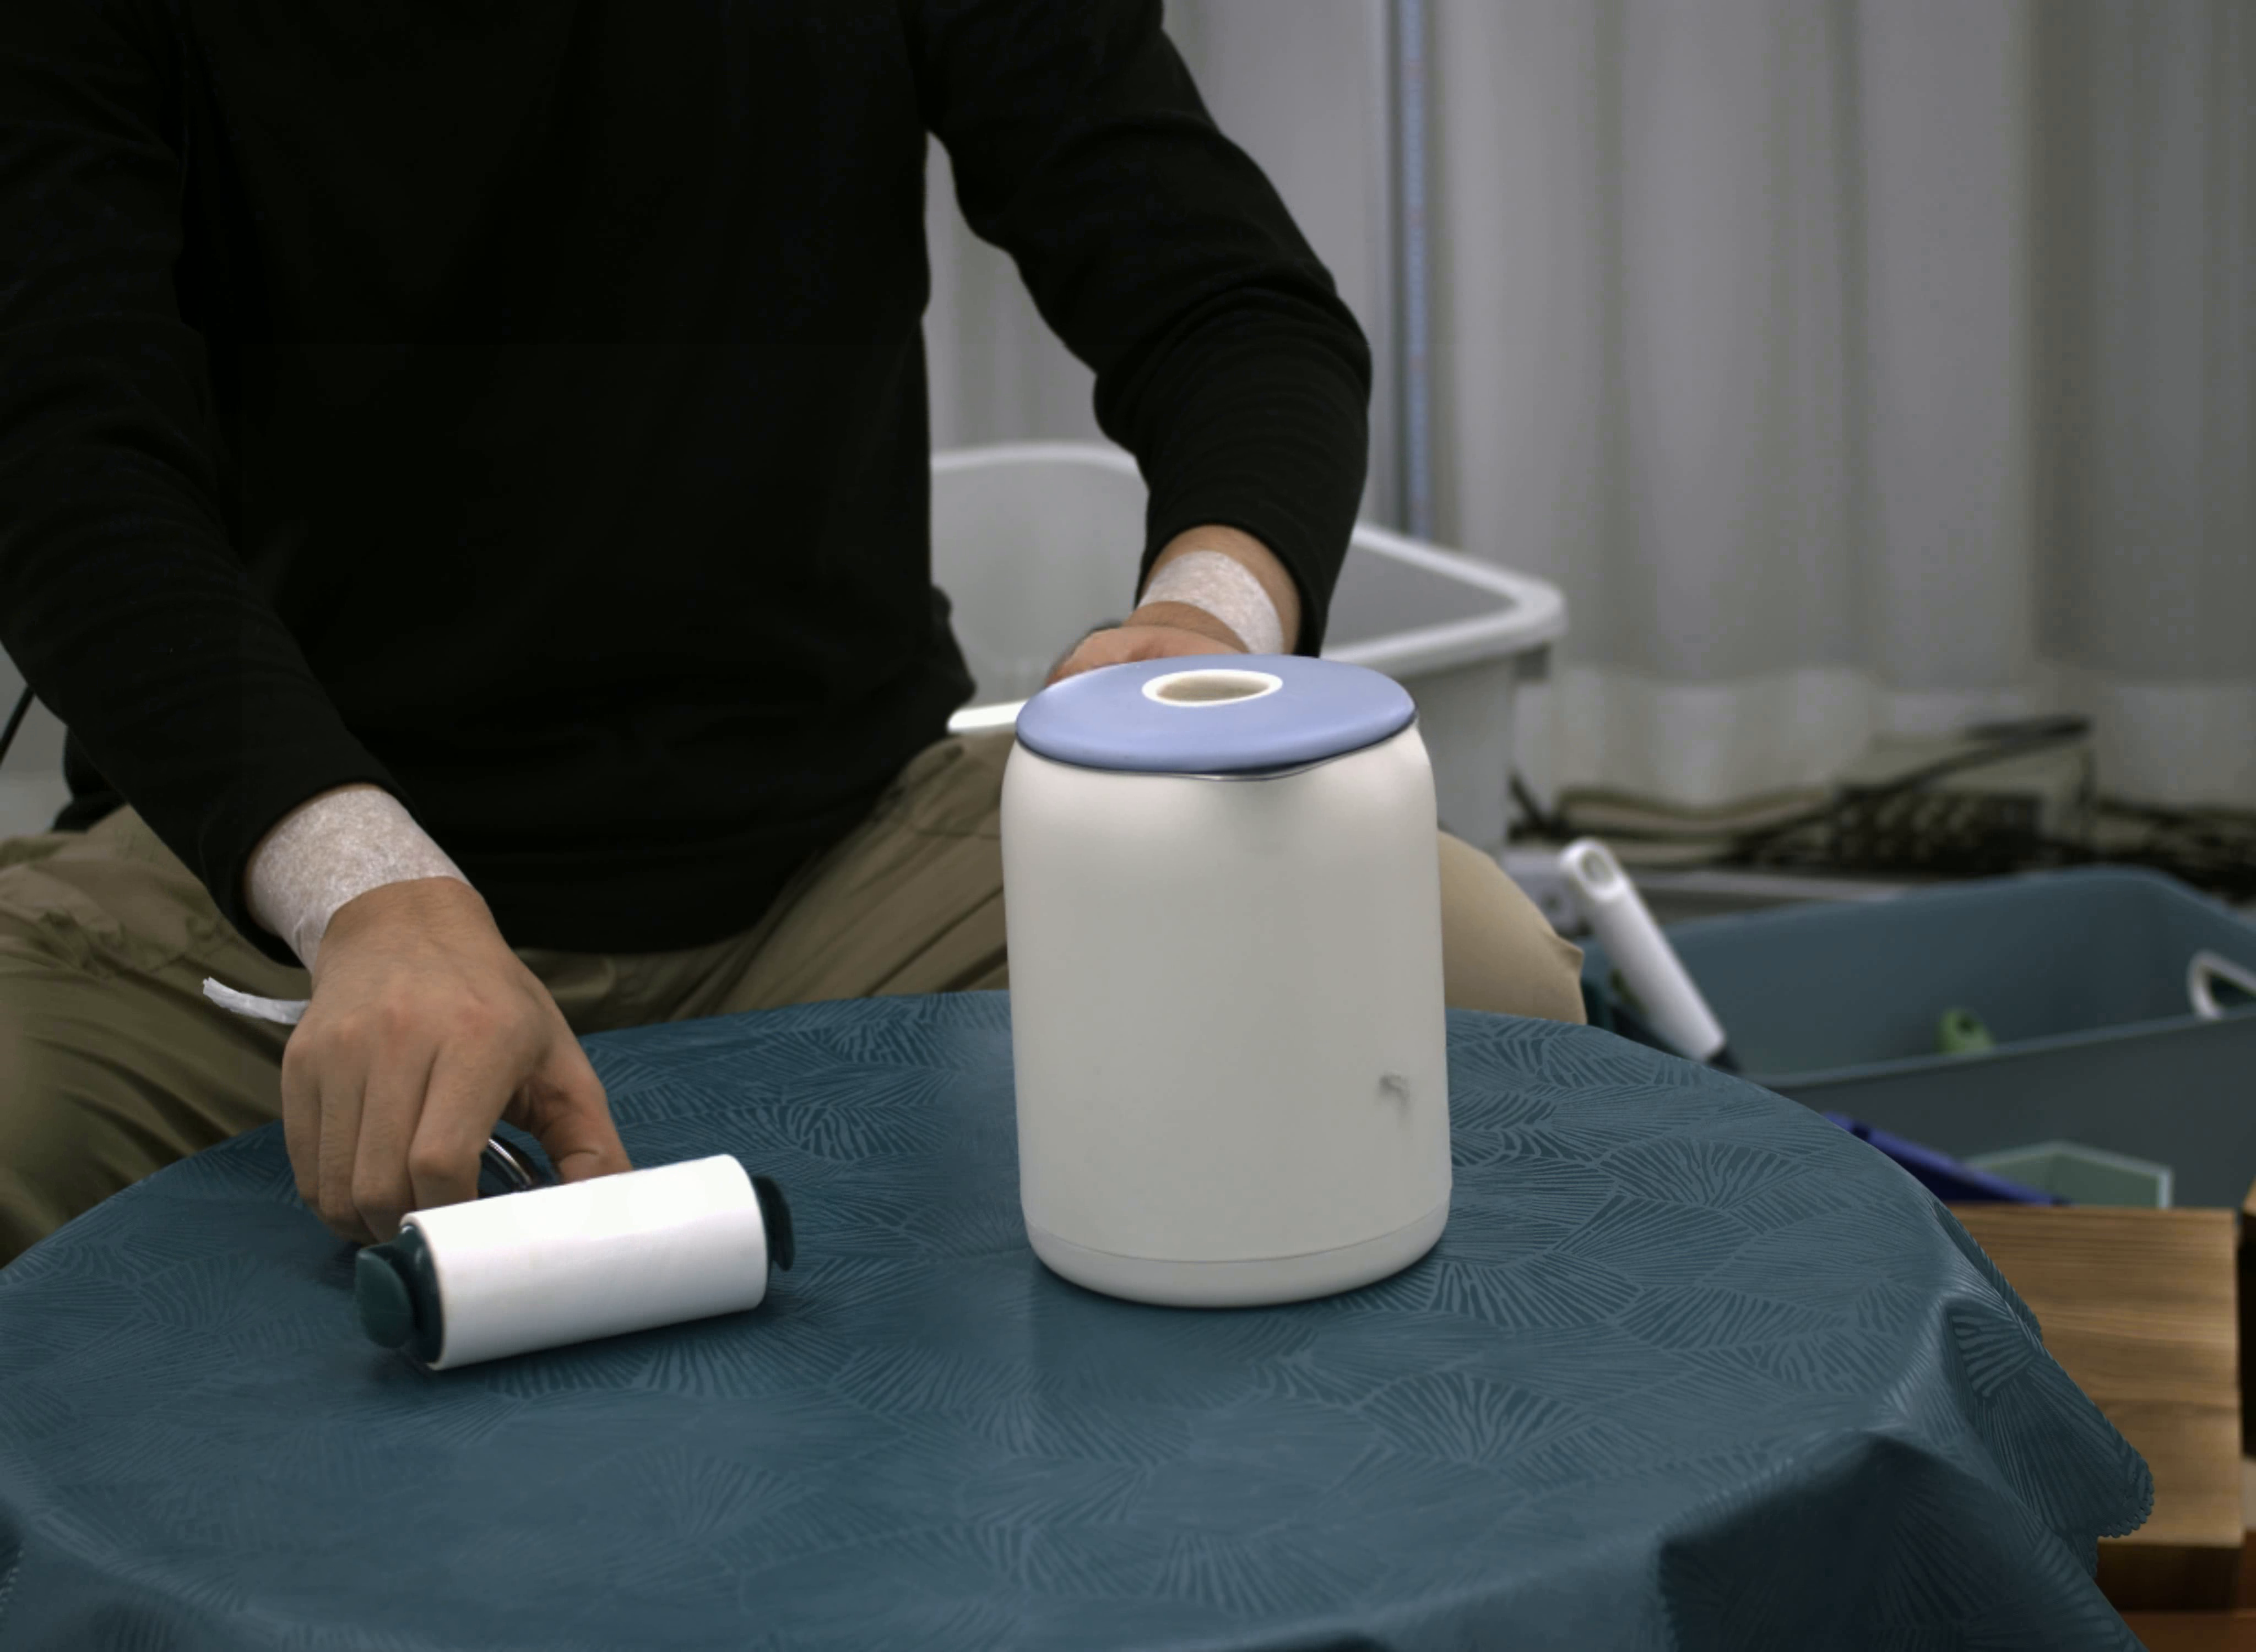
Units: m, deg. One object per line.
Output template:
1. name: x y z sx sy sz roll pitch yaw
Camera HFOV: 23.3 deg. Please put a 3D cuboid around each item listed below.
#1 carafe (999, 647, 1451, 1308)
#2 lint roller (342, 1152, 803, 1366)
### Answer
1. carafe: 0.023 0.039 1.664 0.131 0.182 0.192 -5 12 -13
2. lint roller: -0.188 0.112 1.664 0.134 0.048 0.181 -9 16 -21
